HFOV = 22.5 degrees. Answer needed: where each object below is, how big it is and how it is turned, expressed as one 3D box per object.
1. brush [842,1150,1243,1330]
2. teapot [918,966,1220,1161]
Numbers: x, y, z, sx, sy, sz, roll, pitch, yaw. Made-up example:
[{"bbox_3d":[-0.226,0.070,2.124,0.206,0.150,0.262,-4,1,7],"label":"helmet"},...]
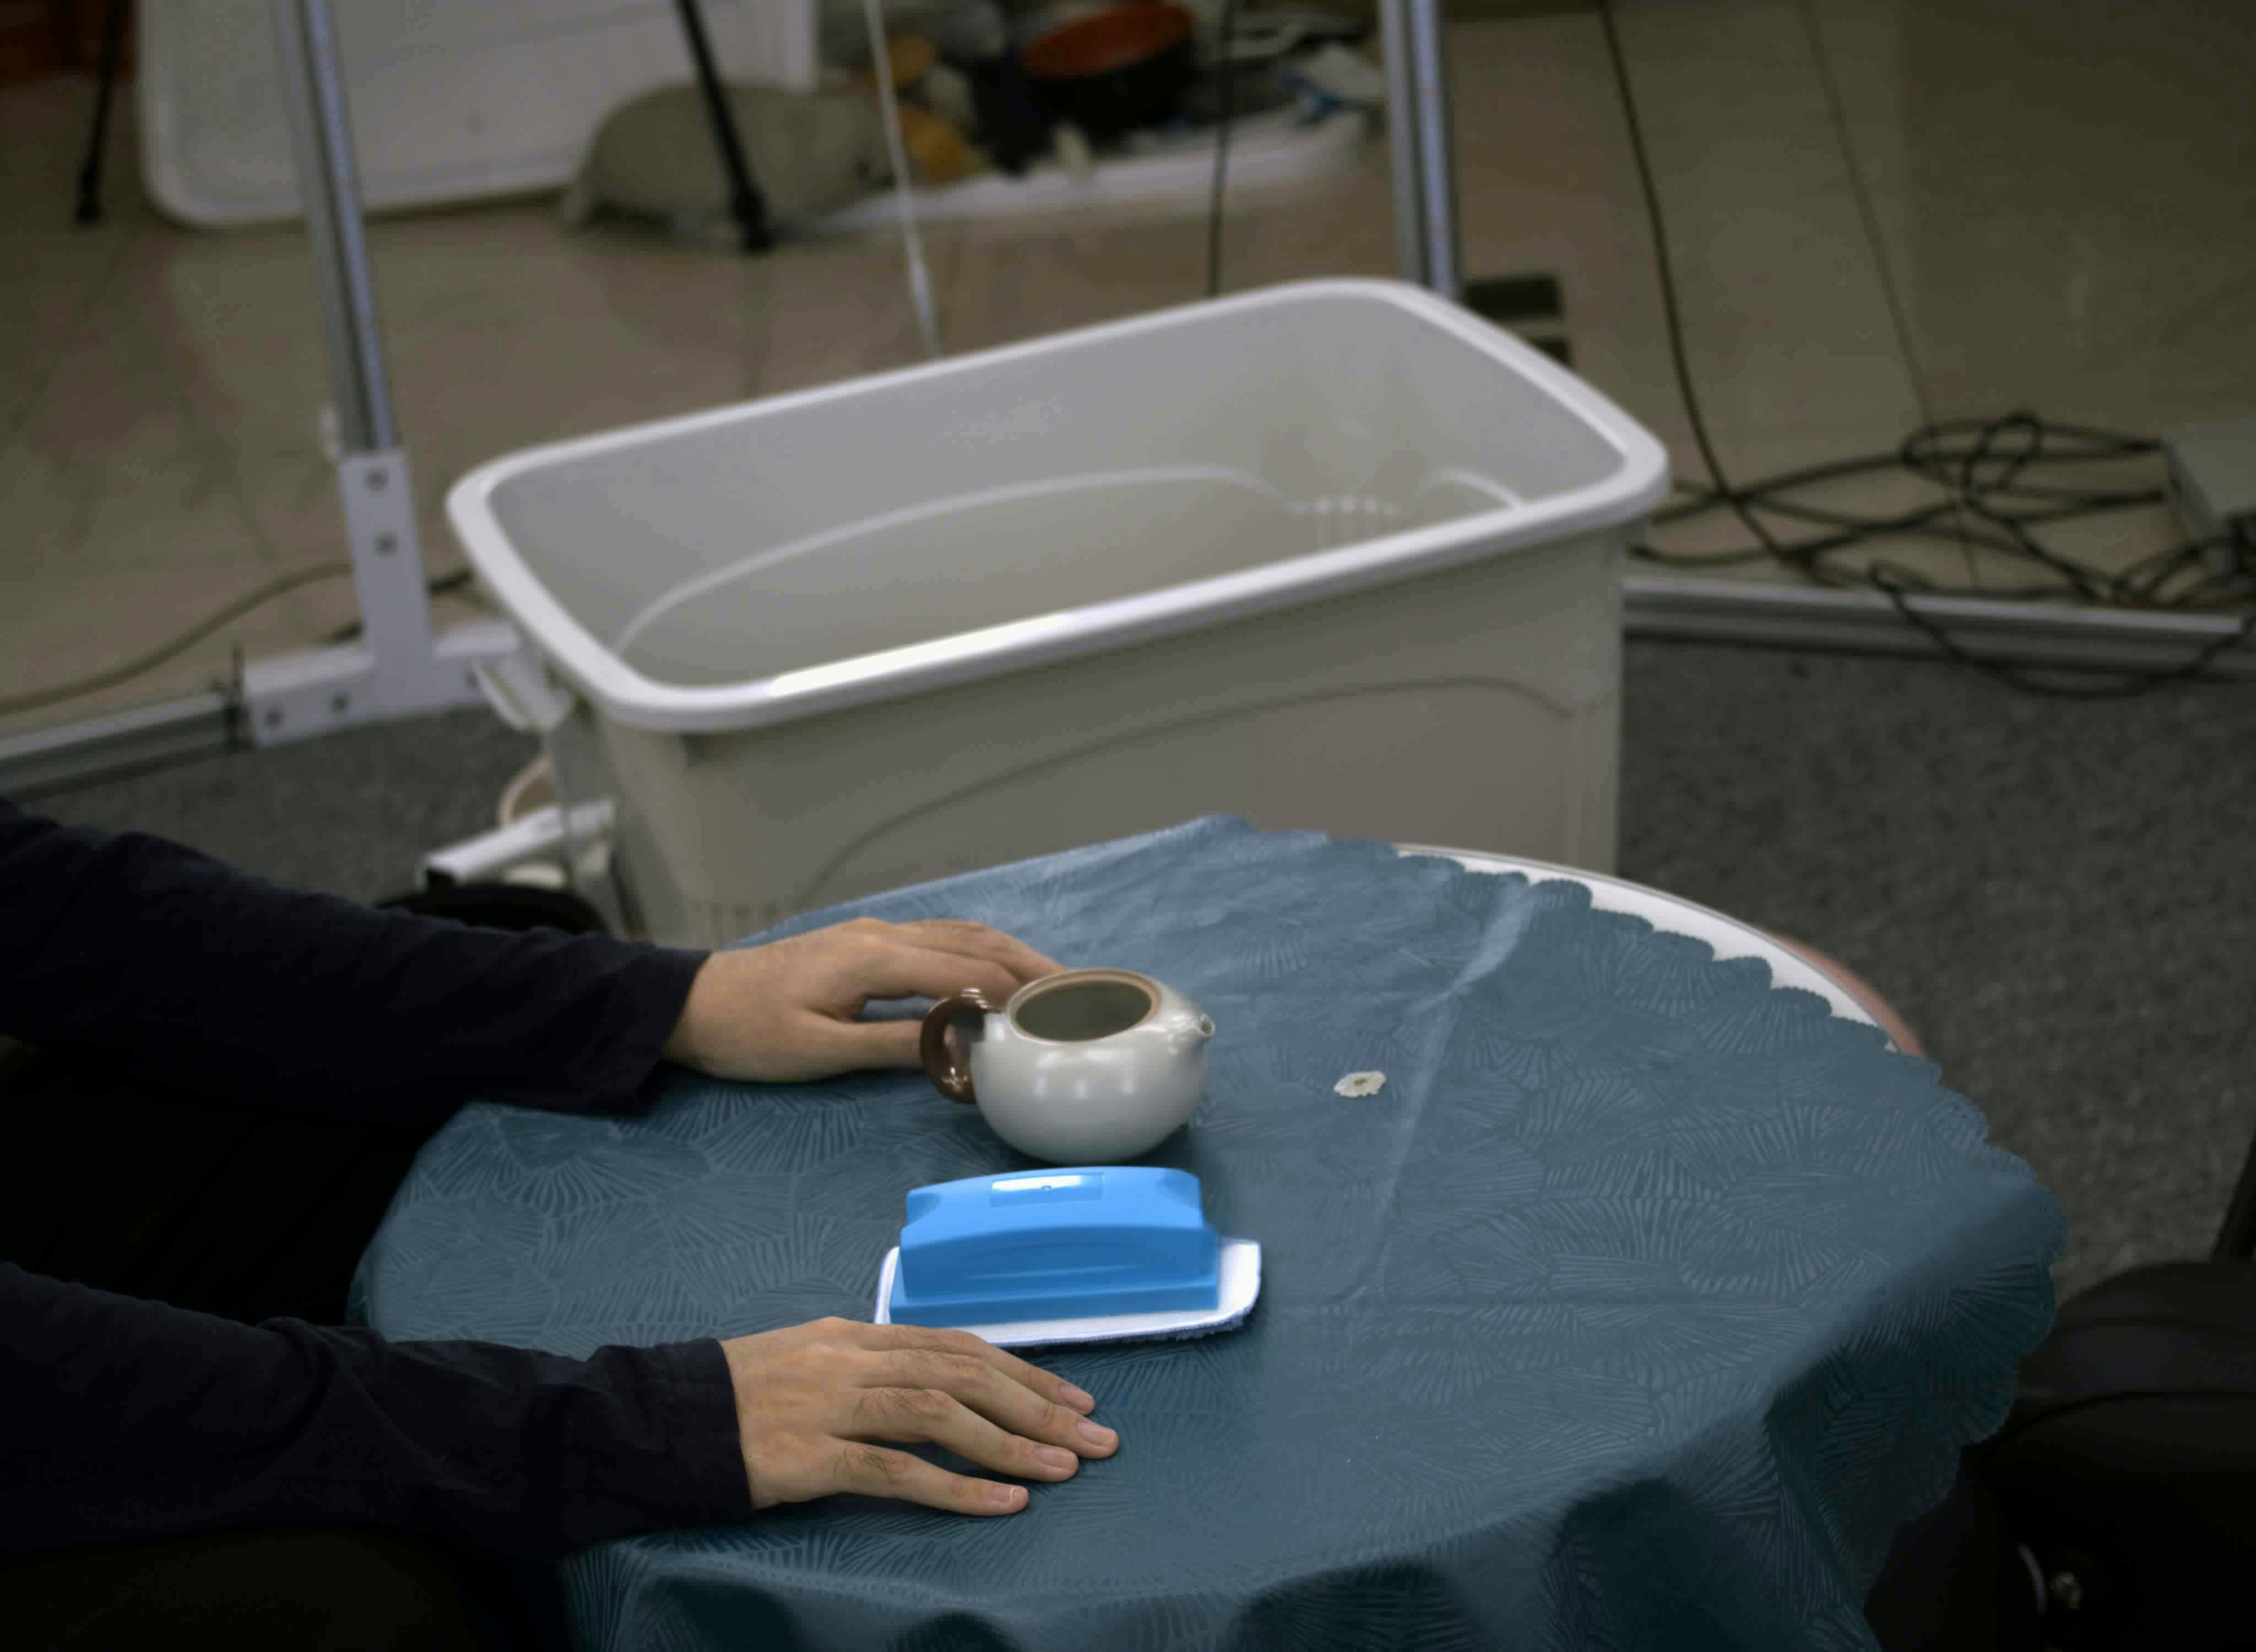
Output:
[{"bbox_3d":[-0.031,0.148,2.061,0.144,0.057,0.083,-1,22,6],"label":"brush"},{"bbox_3d":[-0.022,0.092,2.184,0.127,0.060,0.090,6,30,21],"label":"teapot"}]
